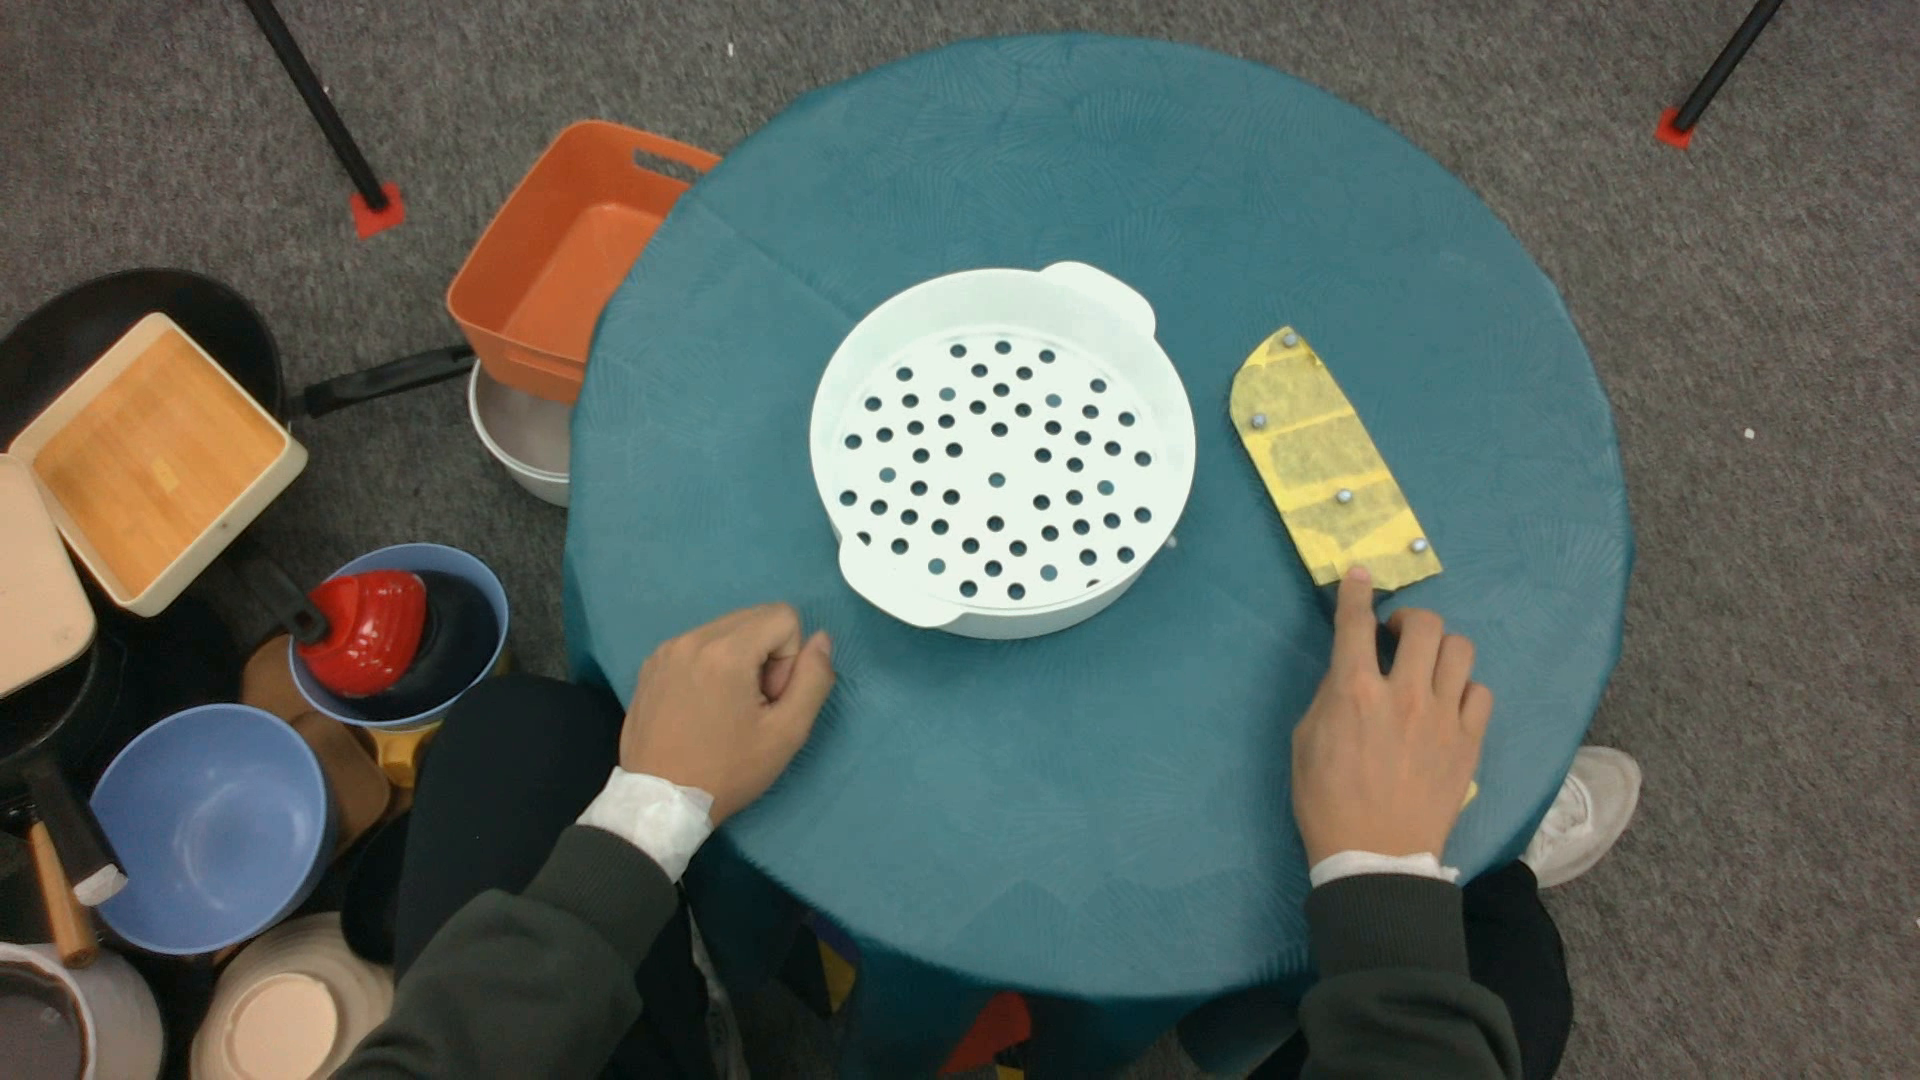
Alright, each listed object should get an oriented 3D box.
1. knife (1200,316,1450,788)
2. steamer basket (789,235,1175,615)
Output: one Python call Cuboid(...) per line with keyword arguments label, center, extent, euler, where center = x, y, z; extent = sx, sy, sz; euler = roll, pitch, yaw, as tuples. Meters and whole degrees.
Cuboid(label="knife", center=(0.208, -0.004, 0.762), extent=(0.081, 0.027, 0.290), euler=(-16, 69, -10))
Cuboid(label="steamer basket", center=(0.011, -0.058, 0.743), extent=(0.202, 0.069, 0.231), euler=(31, 71, 9))
